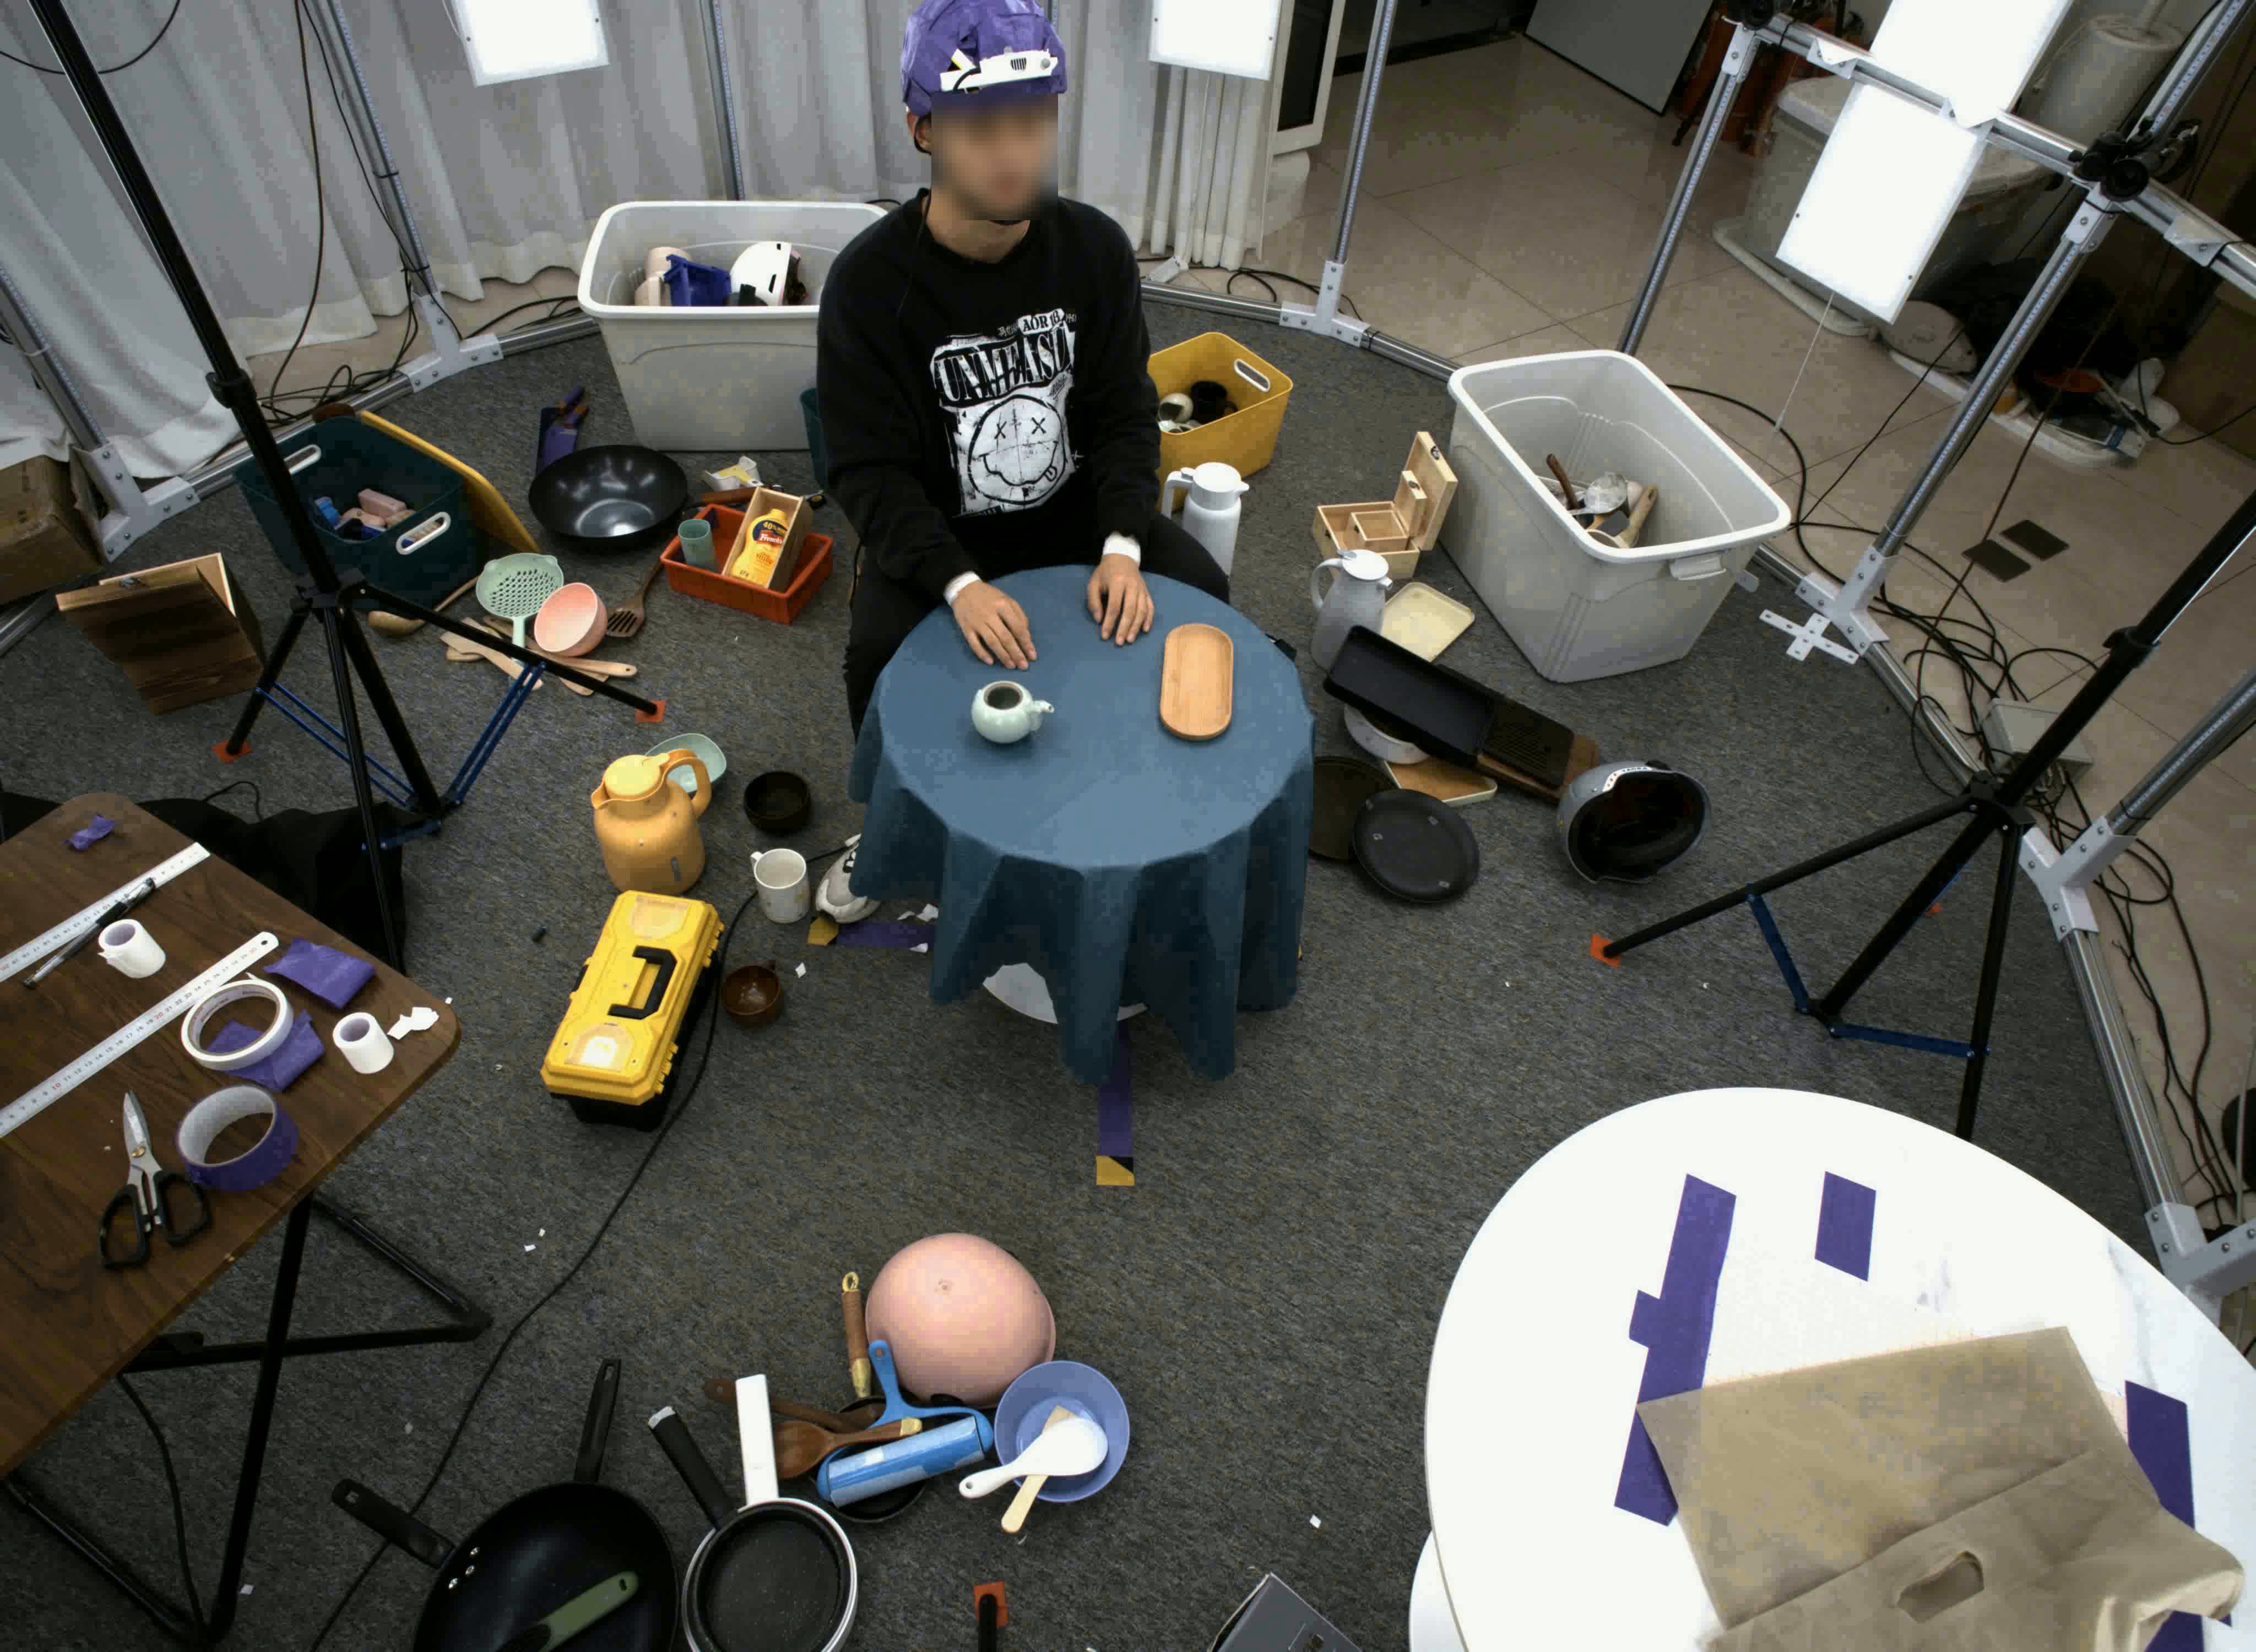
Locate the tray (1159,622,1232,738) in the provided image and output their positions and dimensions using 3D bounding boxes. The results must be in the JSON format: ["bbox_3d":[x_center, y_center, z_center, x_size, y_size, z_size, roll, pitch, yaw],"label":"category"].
[{"bbox_3d":[0.098,-0.213,1.849,0.101,0.020,0.237,6,47,-1],"label":"tray"}]

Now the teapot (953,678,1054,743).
[{"bbox_3d":[-0.169,-0.157,1.748,0.144,0.073,0.090,19,51,10],"label":"teapot"}]
